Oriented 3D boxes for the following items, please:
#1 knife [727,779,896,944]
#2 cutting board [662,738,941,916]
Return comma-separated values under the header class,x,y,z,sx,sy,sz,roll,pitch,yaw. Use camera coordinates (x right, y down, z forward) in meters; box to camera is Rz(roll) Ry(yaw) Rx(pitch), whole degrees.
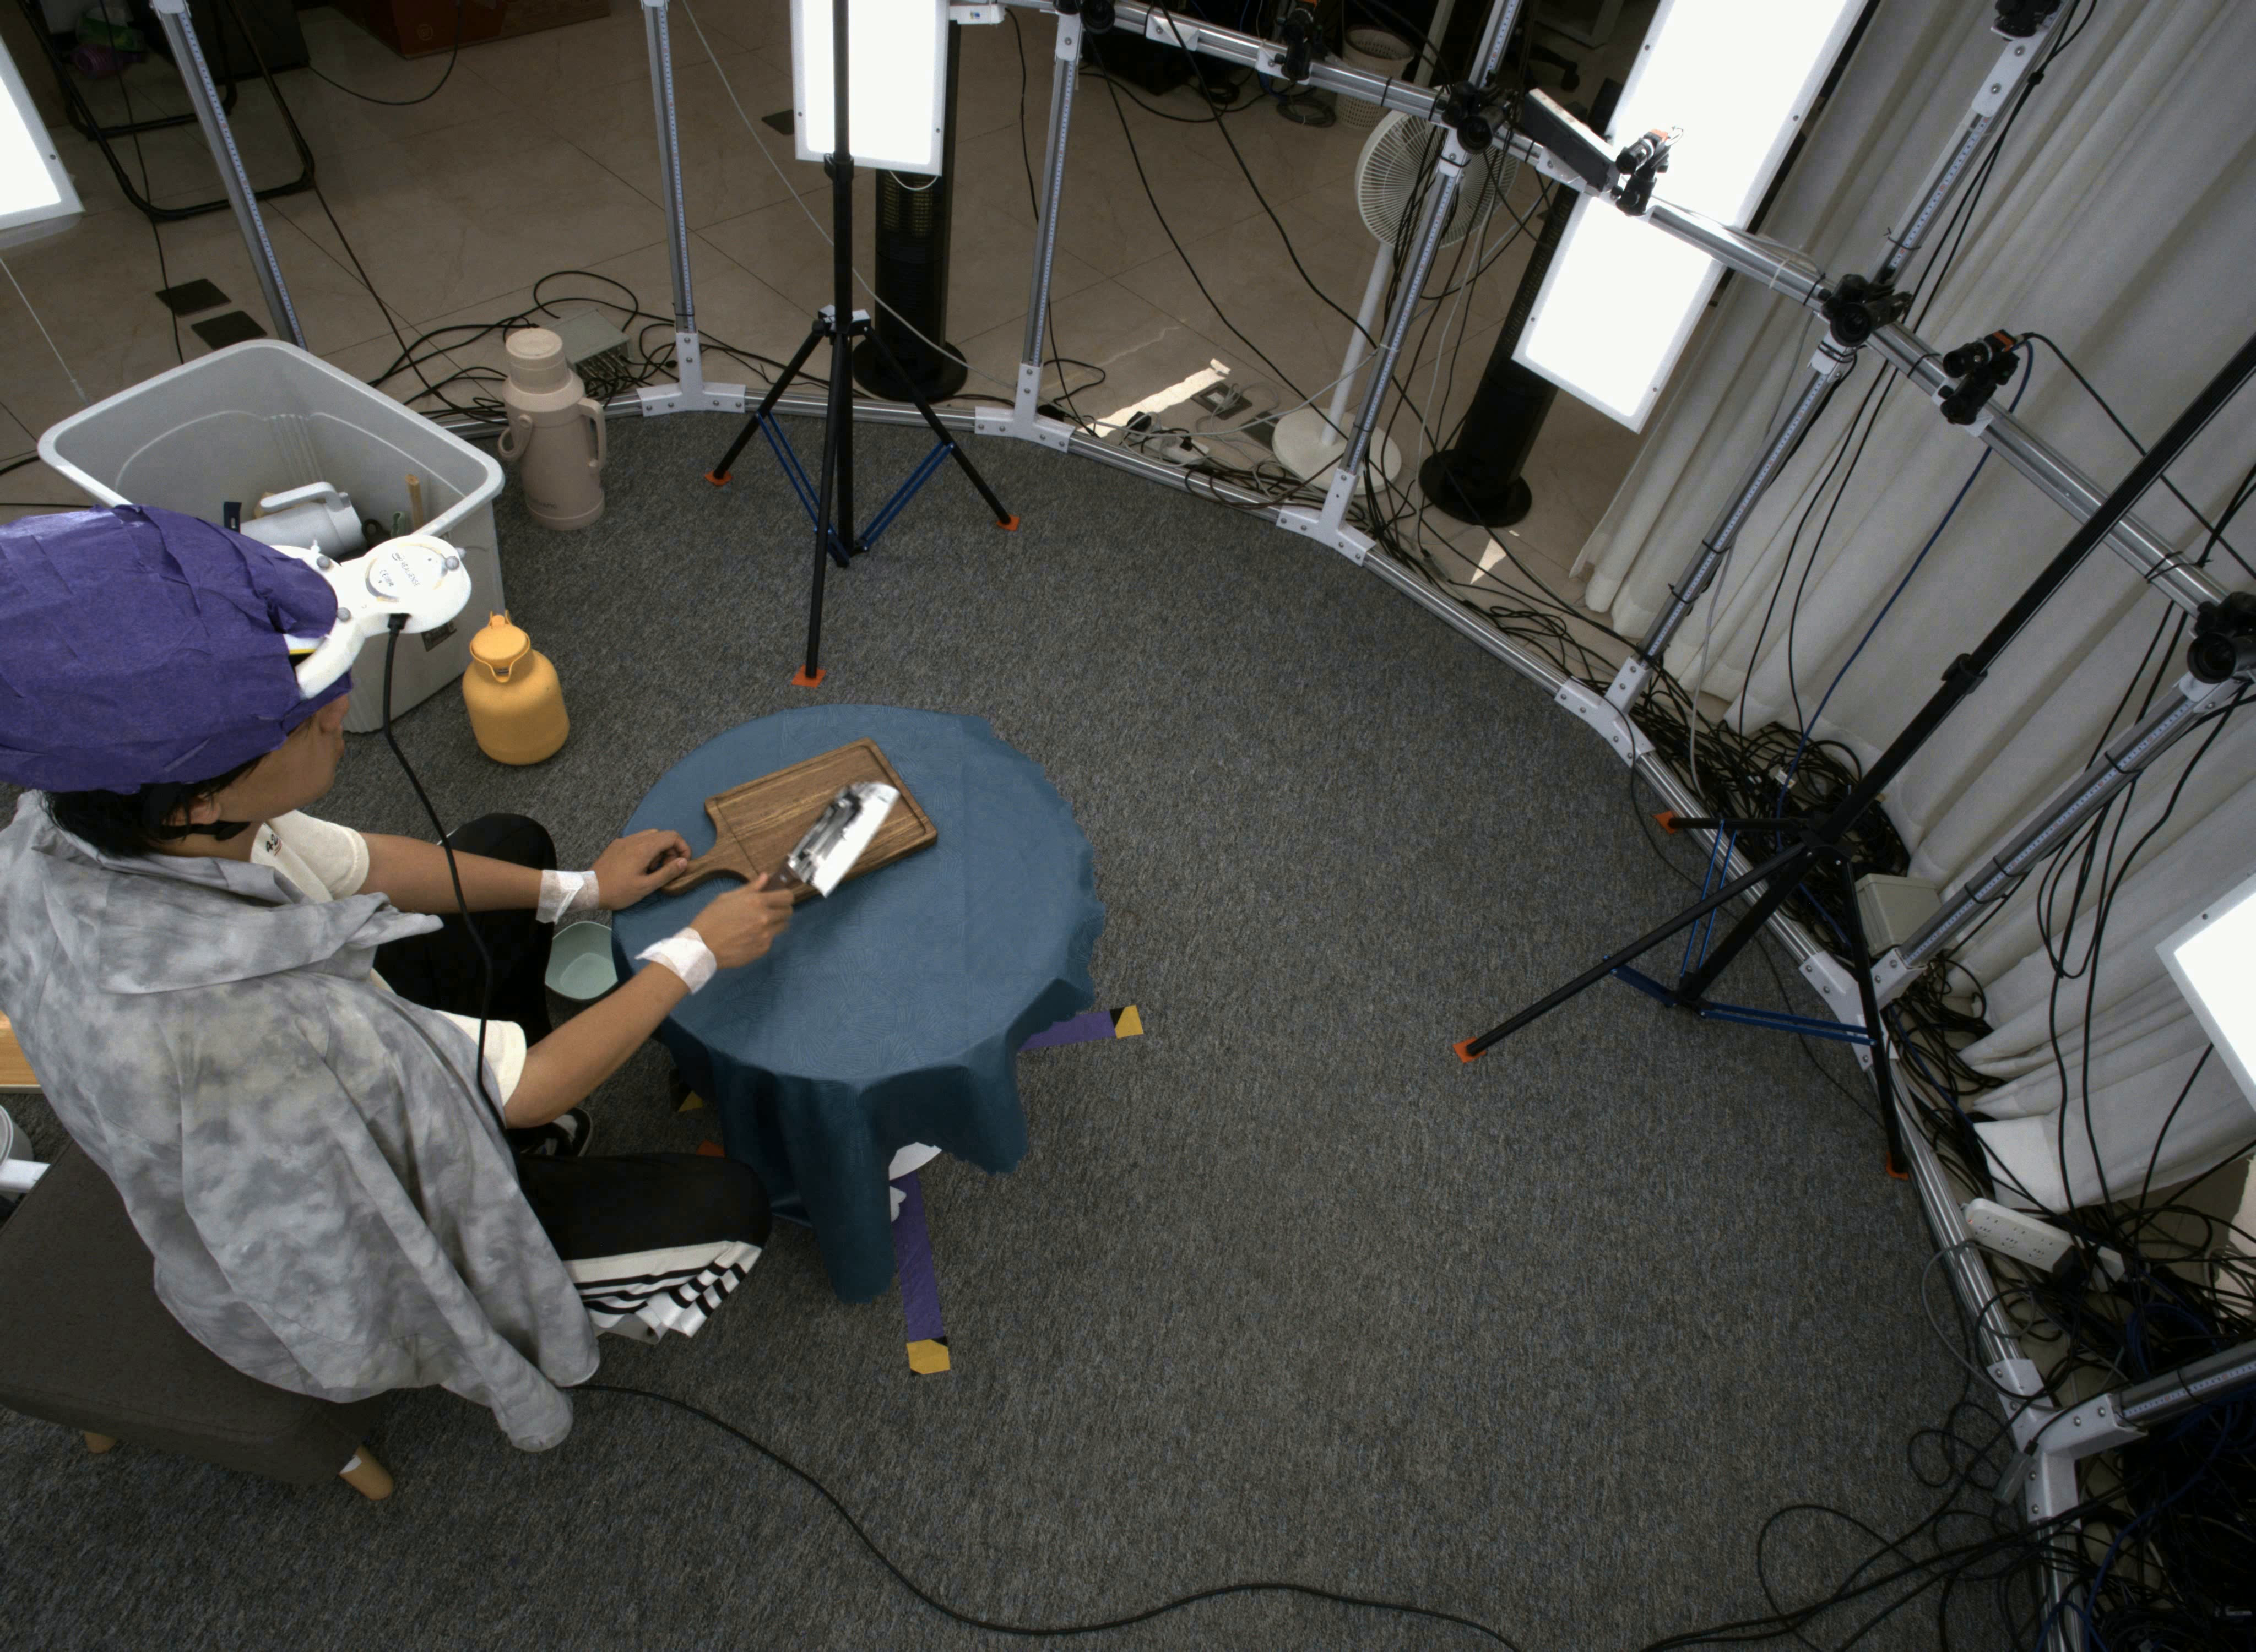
class,x,y,z,sx,sy,sz,roll,pitch,yaw
knife,-0.383,0.041,1.595,0.069,0.023,0.298,41,56,-14
cutting board,-0.442,0.012,1.700,0.353,0.023,0.196,-25,63,-28
